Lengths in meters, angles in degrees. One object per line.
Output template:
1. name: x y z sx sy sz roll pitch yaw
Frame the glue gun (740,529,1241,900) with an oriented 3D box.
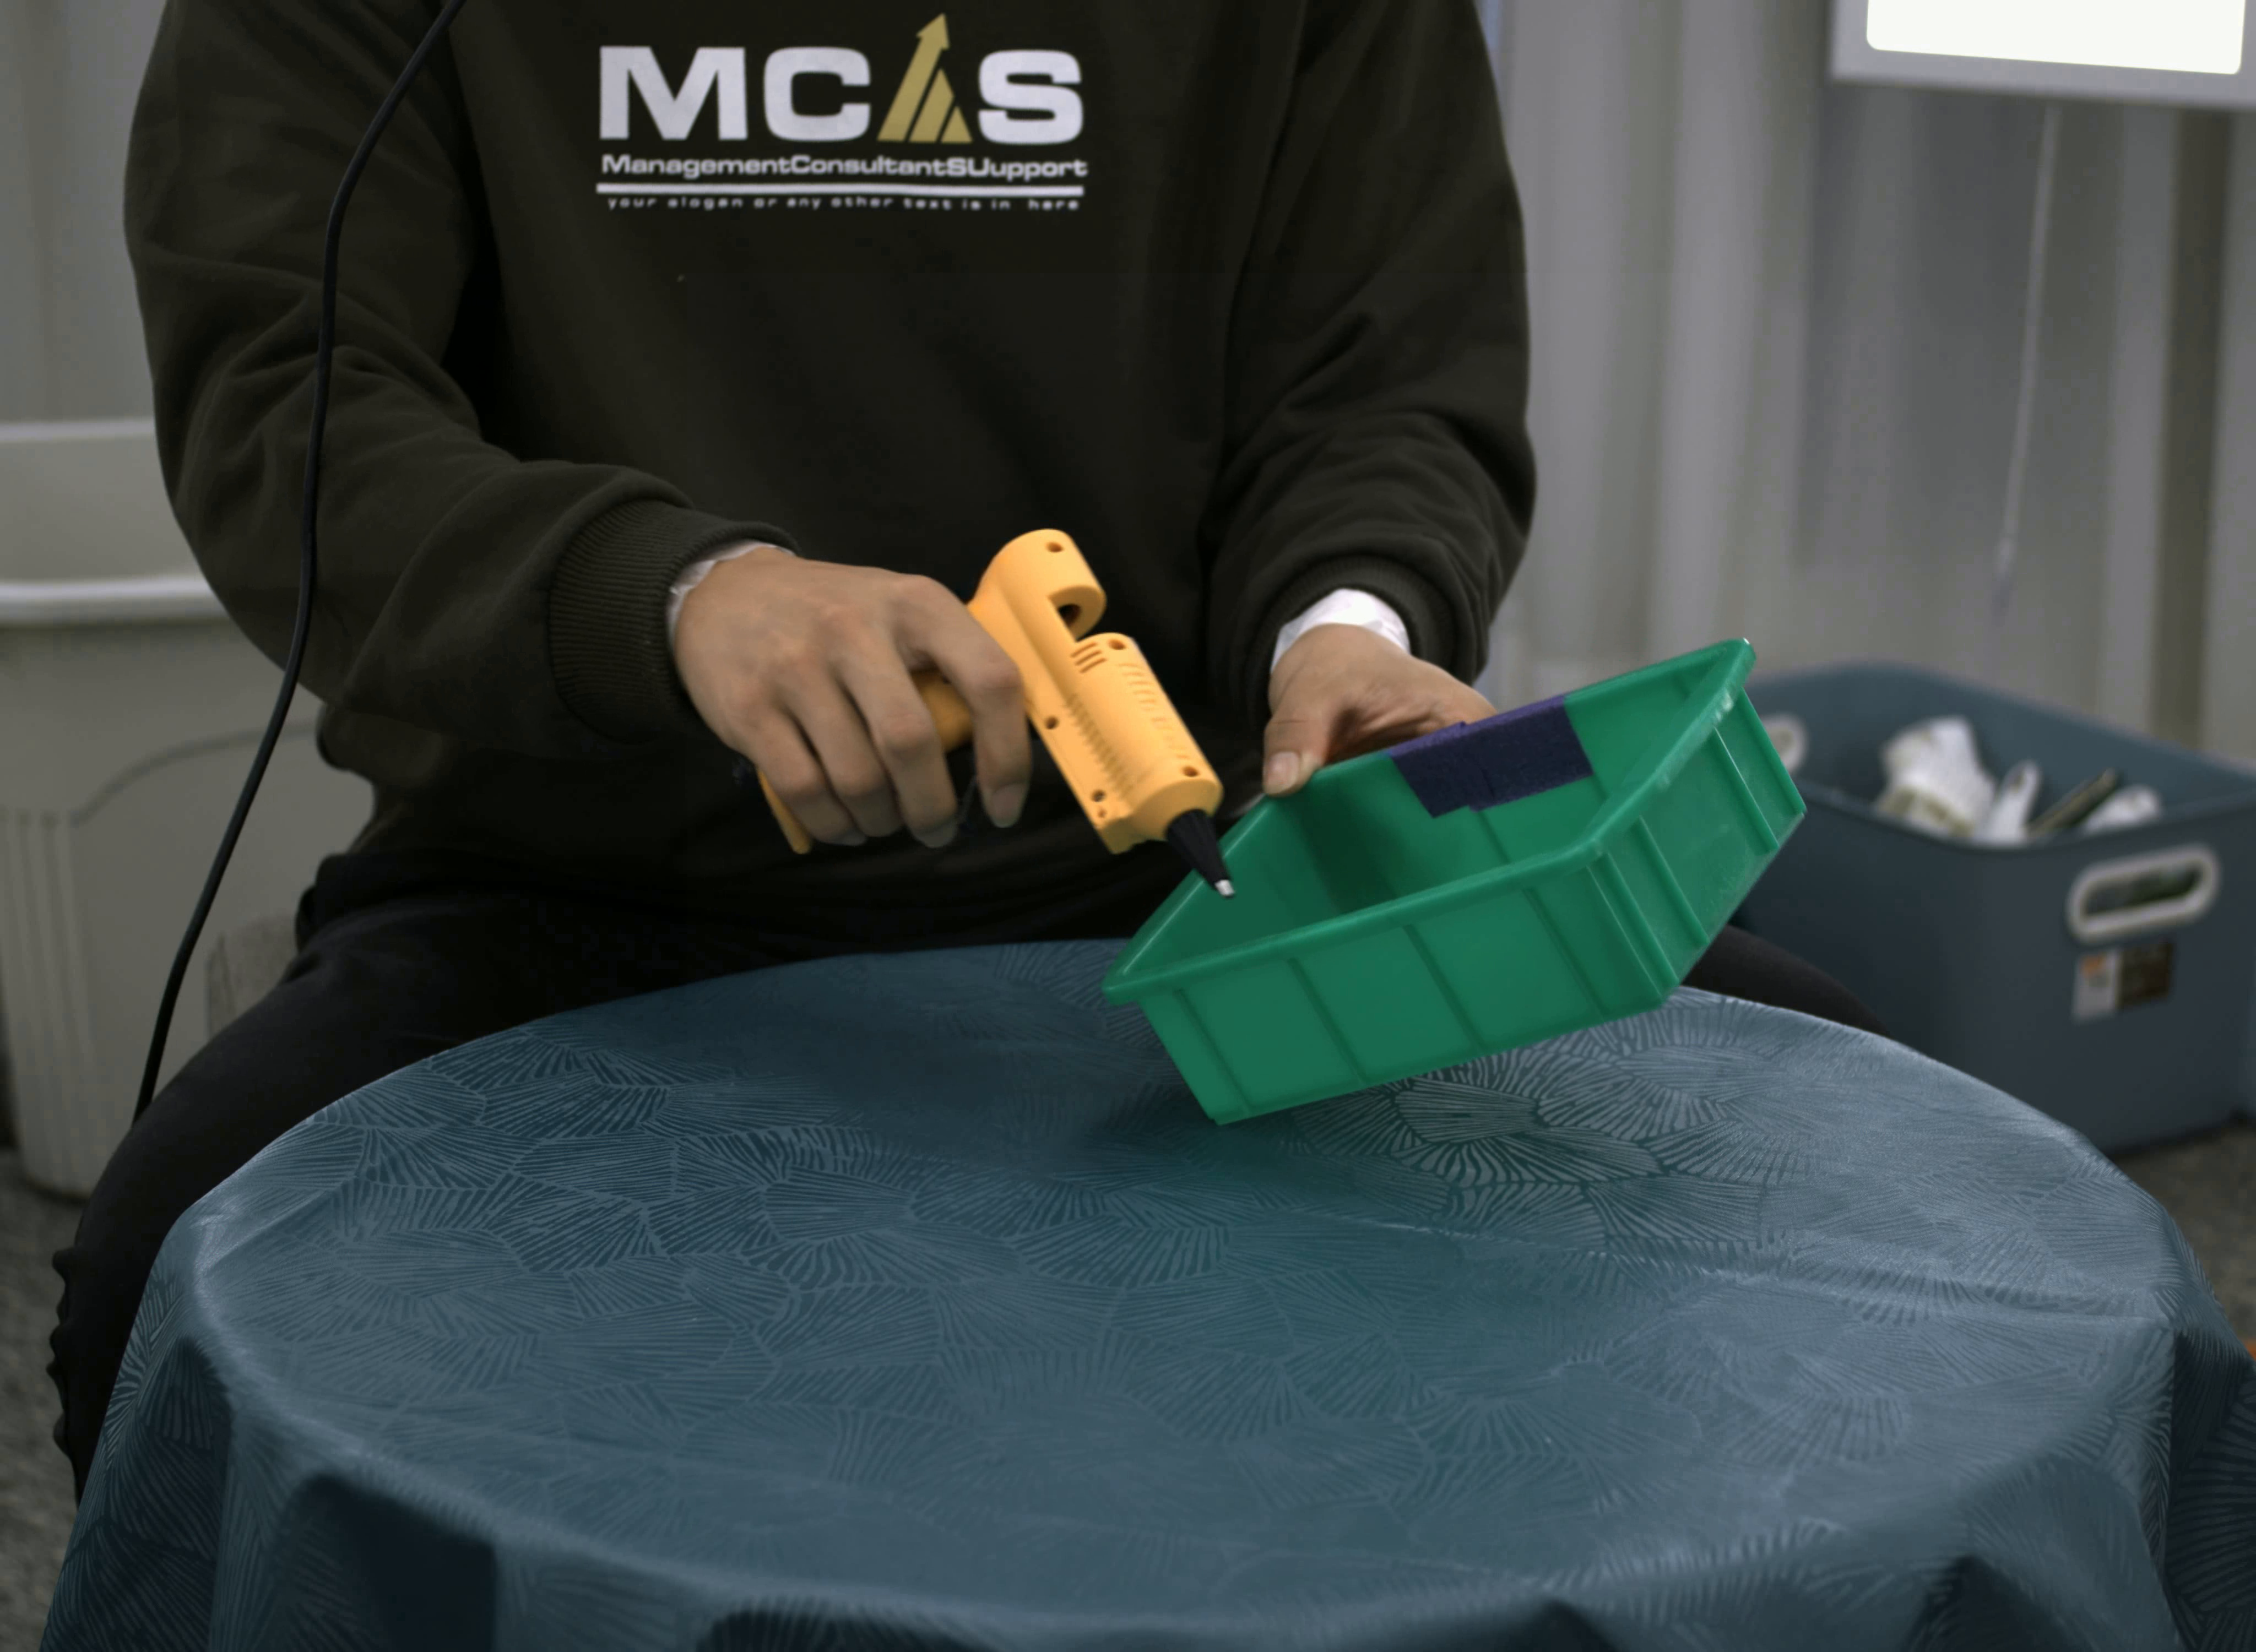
1. glue gun: -0.035 -0.007 1.662 0.133 0.031 0.149 -36 59 -2

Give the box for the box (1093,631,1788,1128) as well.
1. box: 0.103 0.021 1.670 0.209 0.066 0.138 -21 16 38
